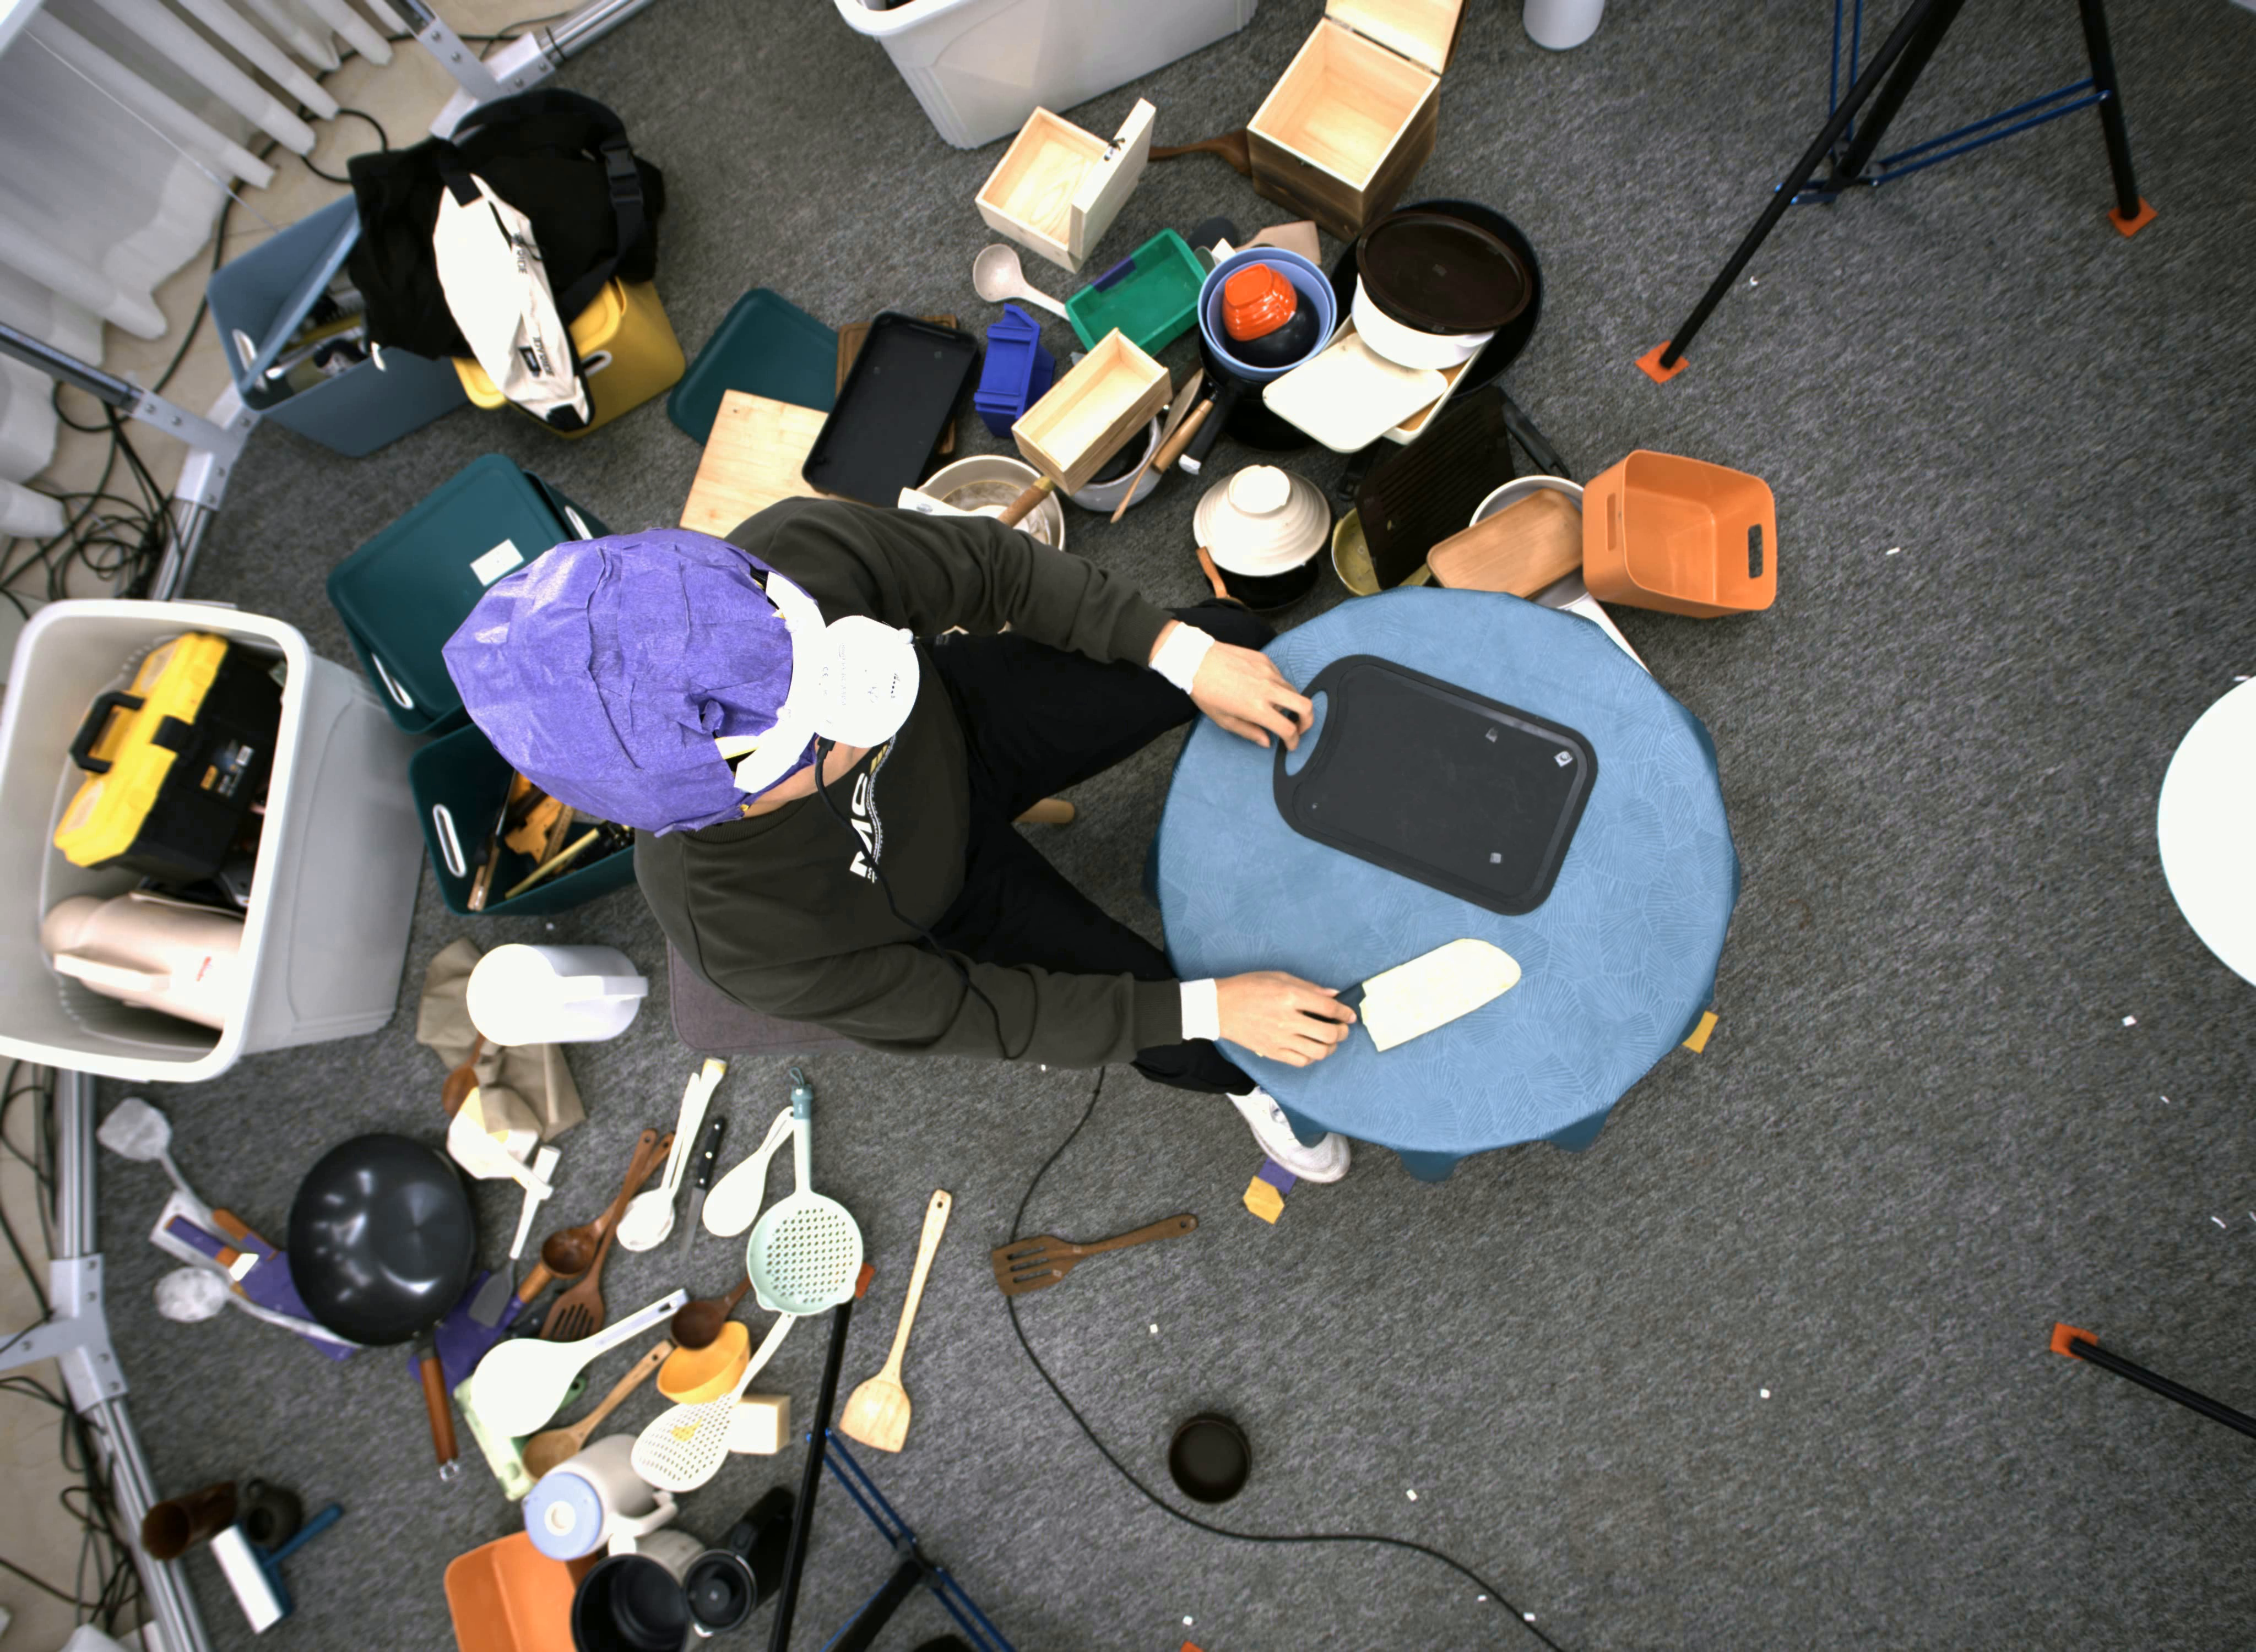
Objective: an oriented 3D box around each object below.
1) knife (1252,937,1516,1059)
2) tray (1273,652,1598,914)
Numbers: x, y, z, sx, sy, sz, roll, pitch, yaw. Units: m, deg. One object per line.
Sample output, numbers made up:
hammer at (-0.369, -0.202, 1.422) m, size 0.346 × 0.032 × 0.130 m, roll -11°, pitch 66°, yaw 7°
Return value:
knife at (0.269, 0.190, 1.446) m, size 0.291 × 0.027 × 0.080 m, roll -23°, pitch 81°, yaw 8°
tray at (0.316, -0.052, 1.454) m, size 0.325 × 0.010 × 0.211 m, roll 22°, pitch 91°, yaw 11°
